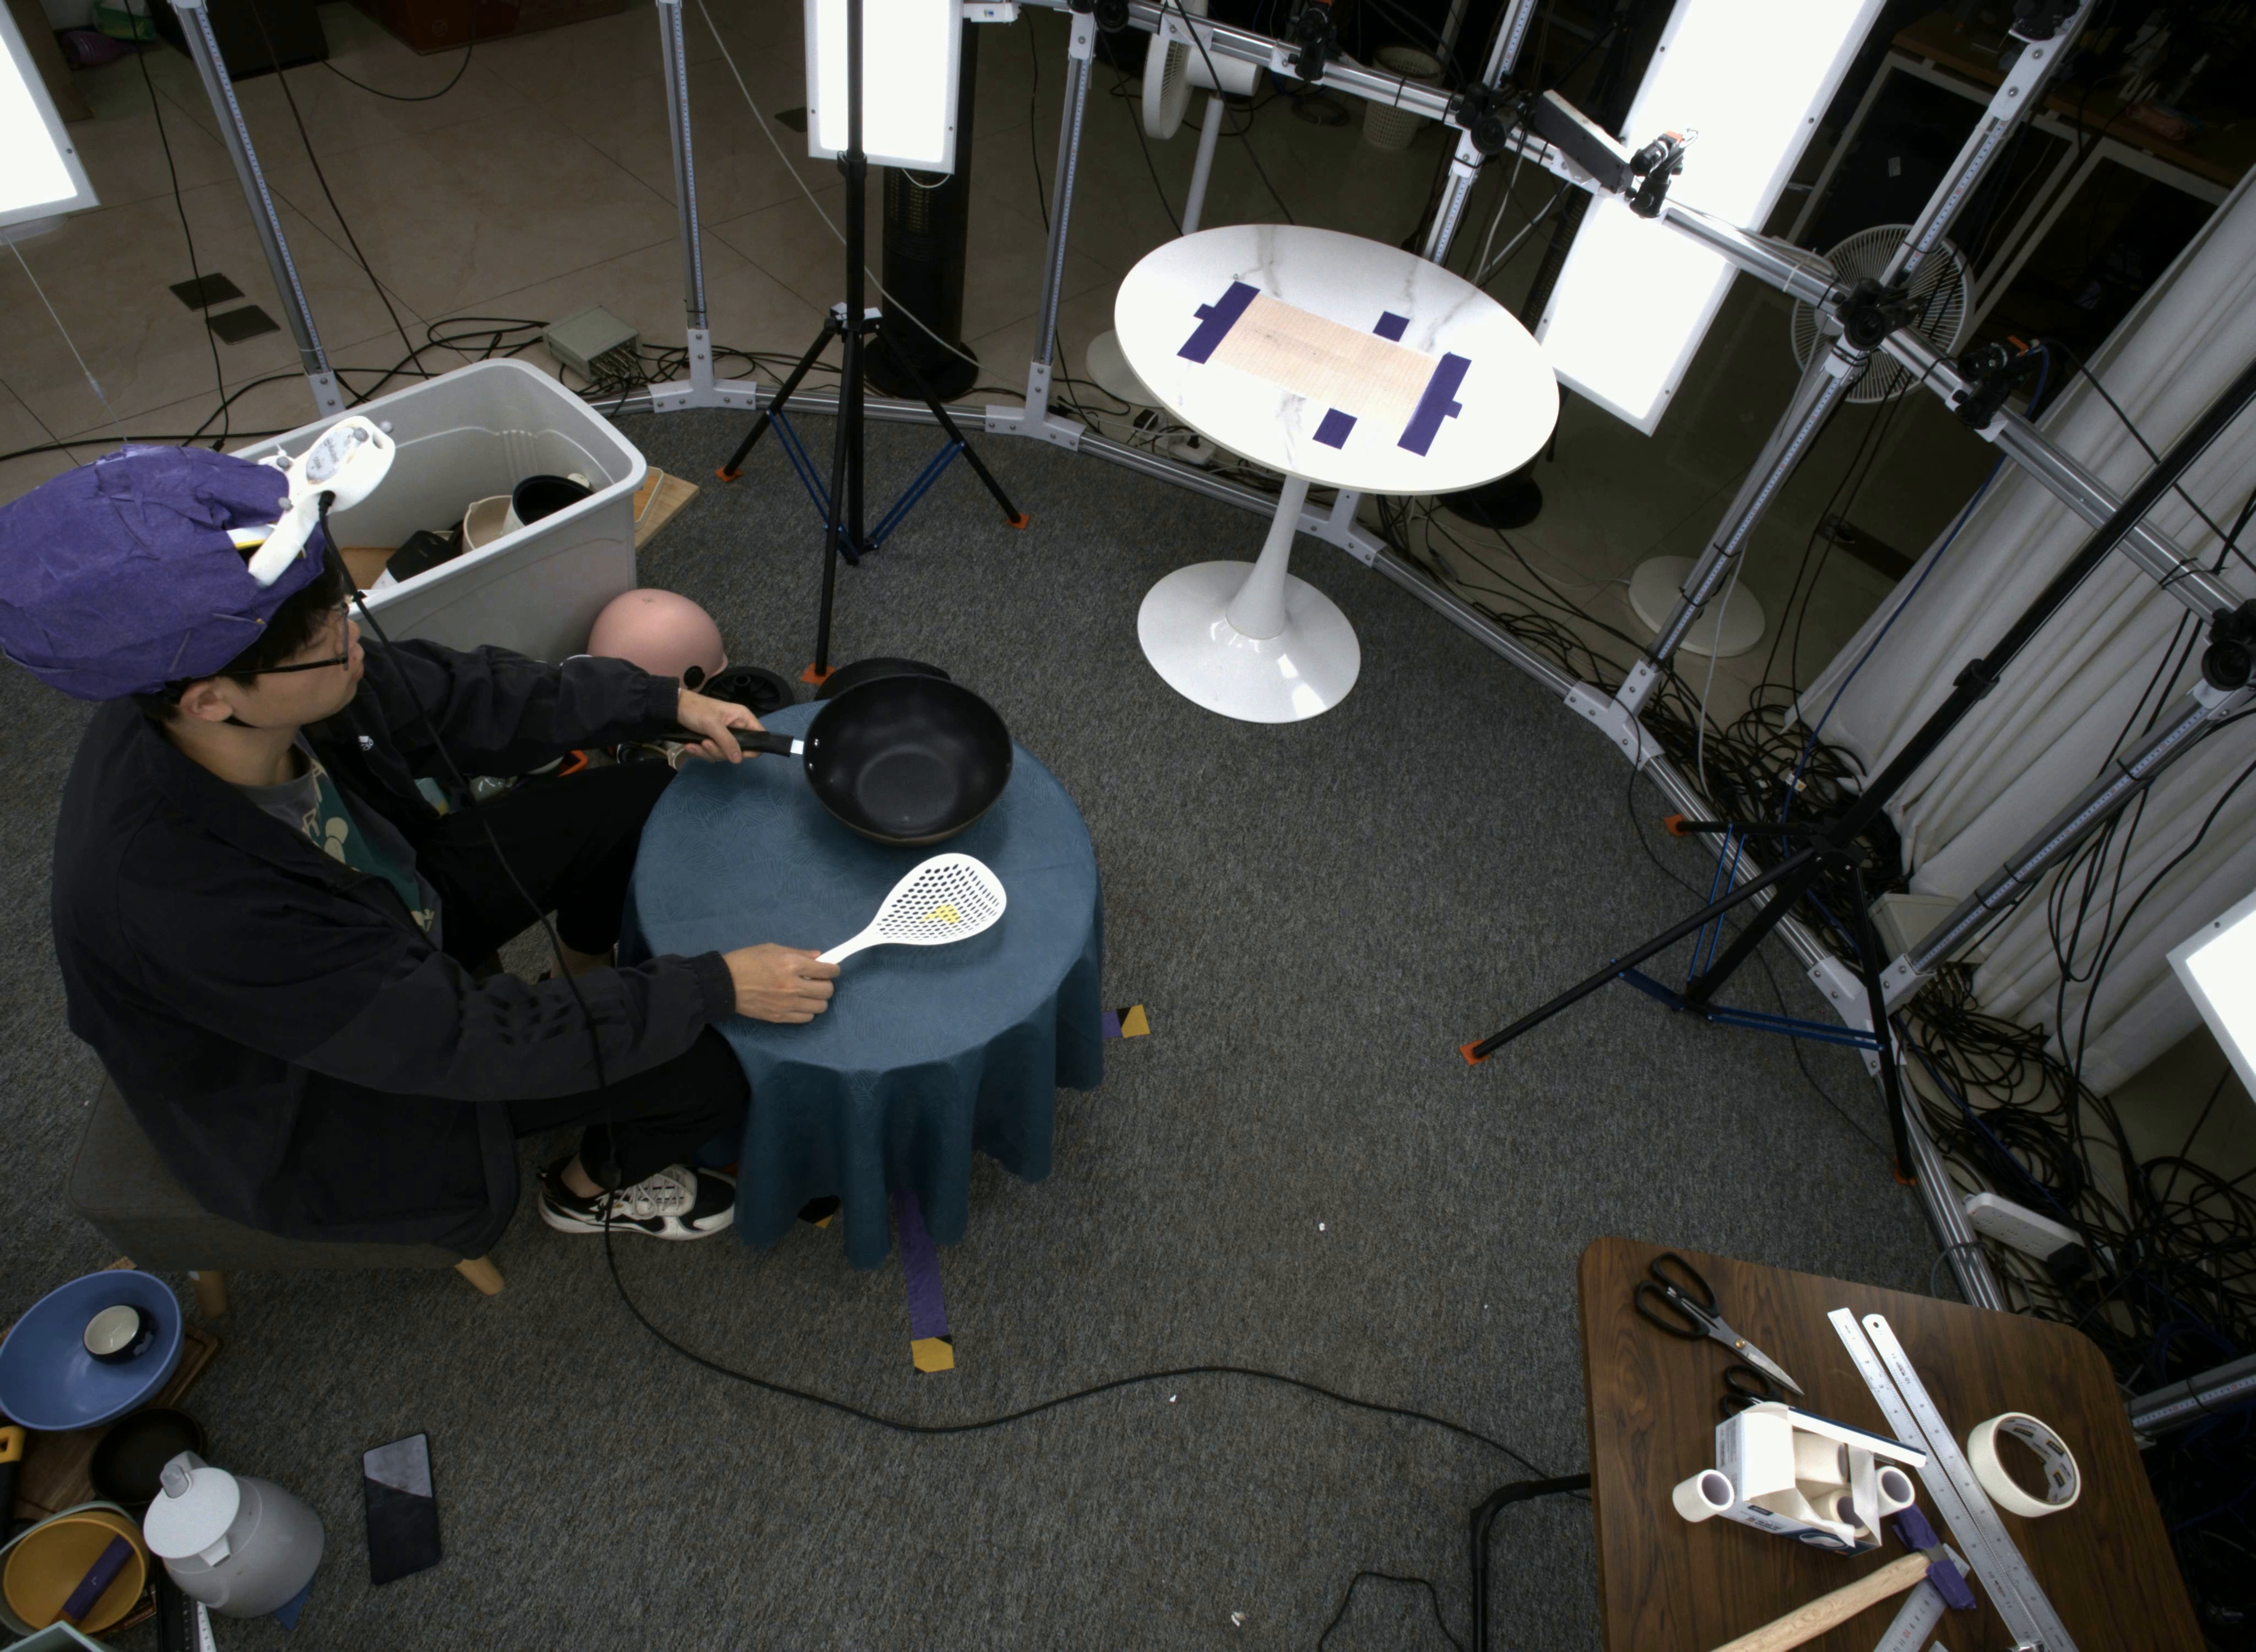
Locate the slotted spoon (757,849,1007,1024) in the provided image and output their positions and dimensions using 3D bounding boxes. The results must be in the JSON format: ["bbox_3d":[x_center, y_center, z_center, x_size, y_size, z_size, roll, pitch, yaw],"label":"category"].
[{"bbox_3d":[-0.310,0.141,1.619,0.349,0.051,0.133,-27,61,-30],"label":"slotted spoon"}]

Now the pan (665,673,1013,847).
[{"bbox_3d":[-0.386,-0.084,1.744,0.461,0.089,0.283,5,54,-7],"label":"pan"}]
